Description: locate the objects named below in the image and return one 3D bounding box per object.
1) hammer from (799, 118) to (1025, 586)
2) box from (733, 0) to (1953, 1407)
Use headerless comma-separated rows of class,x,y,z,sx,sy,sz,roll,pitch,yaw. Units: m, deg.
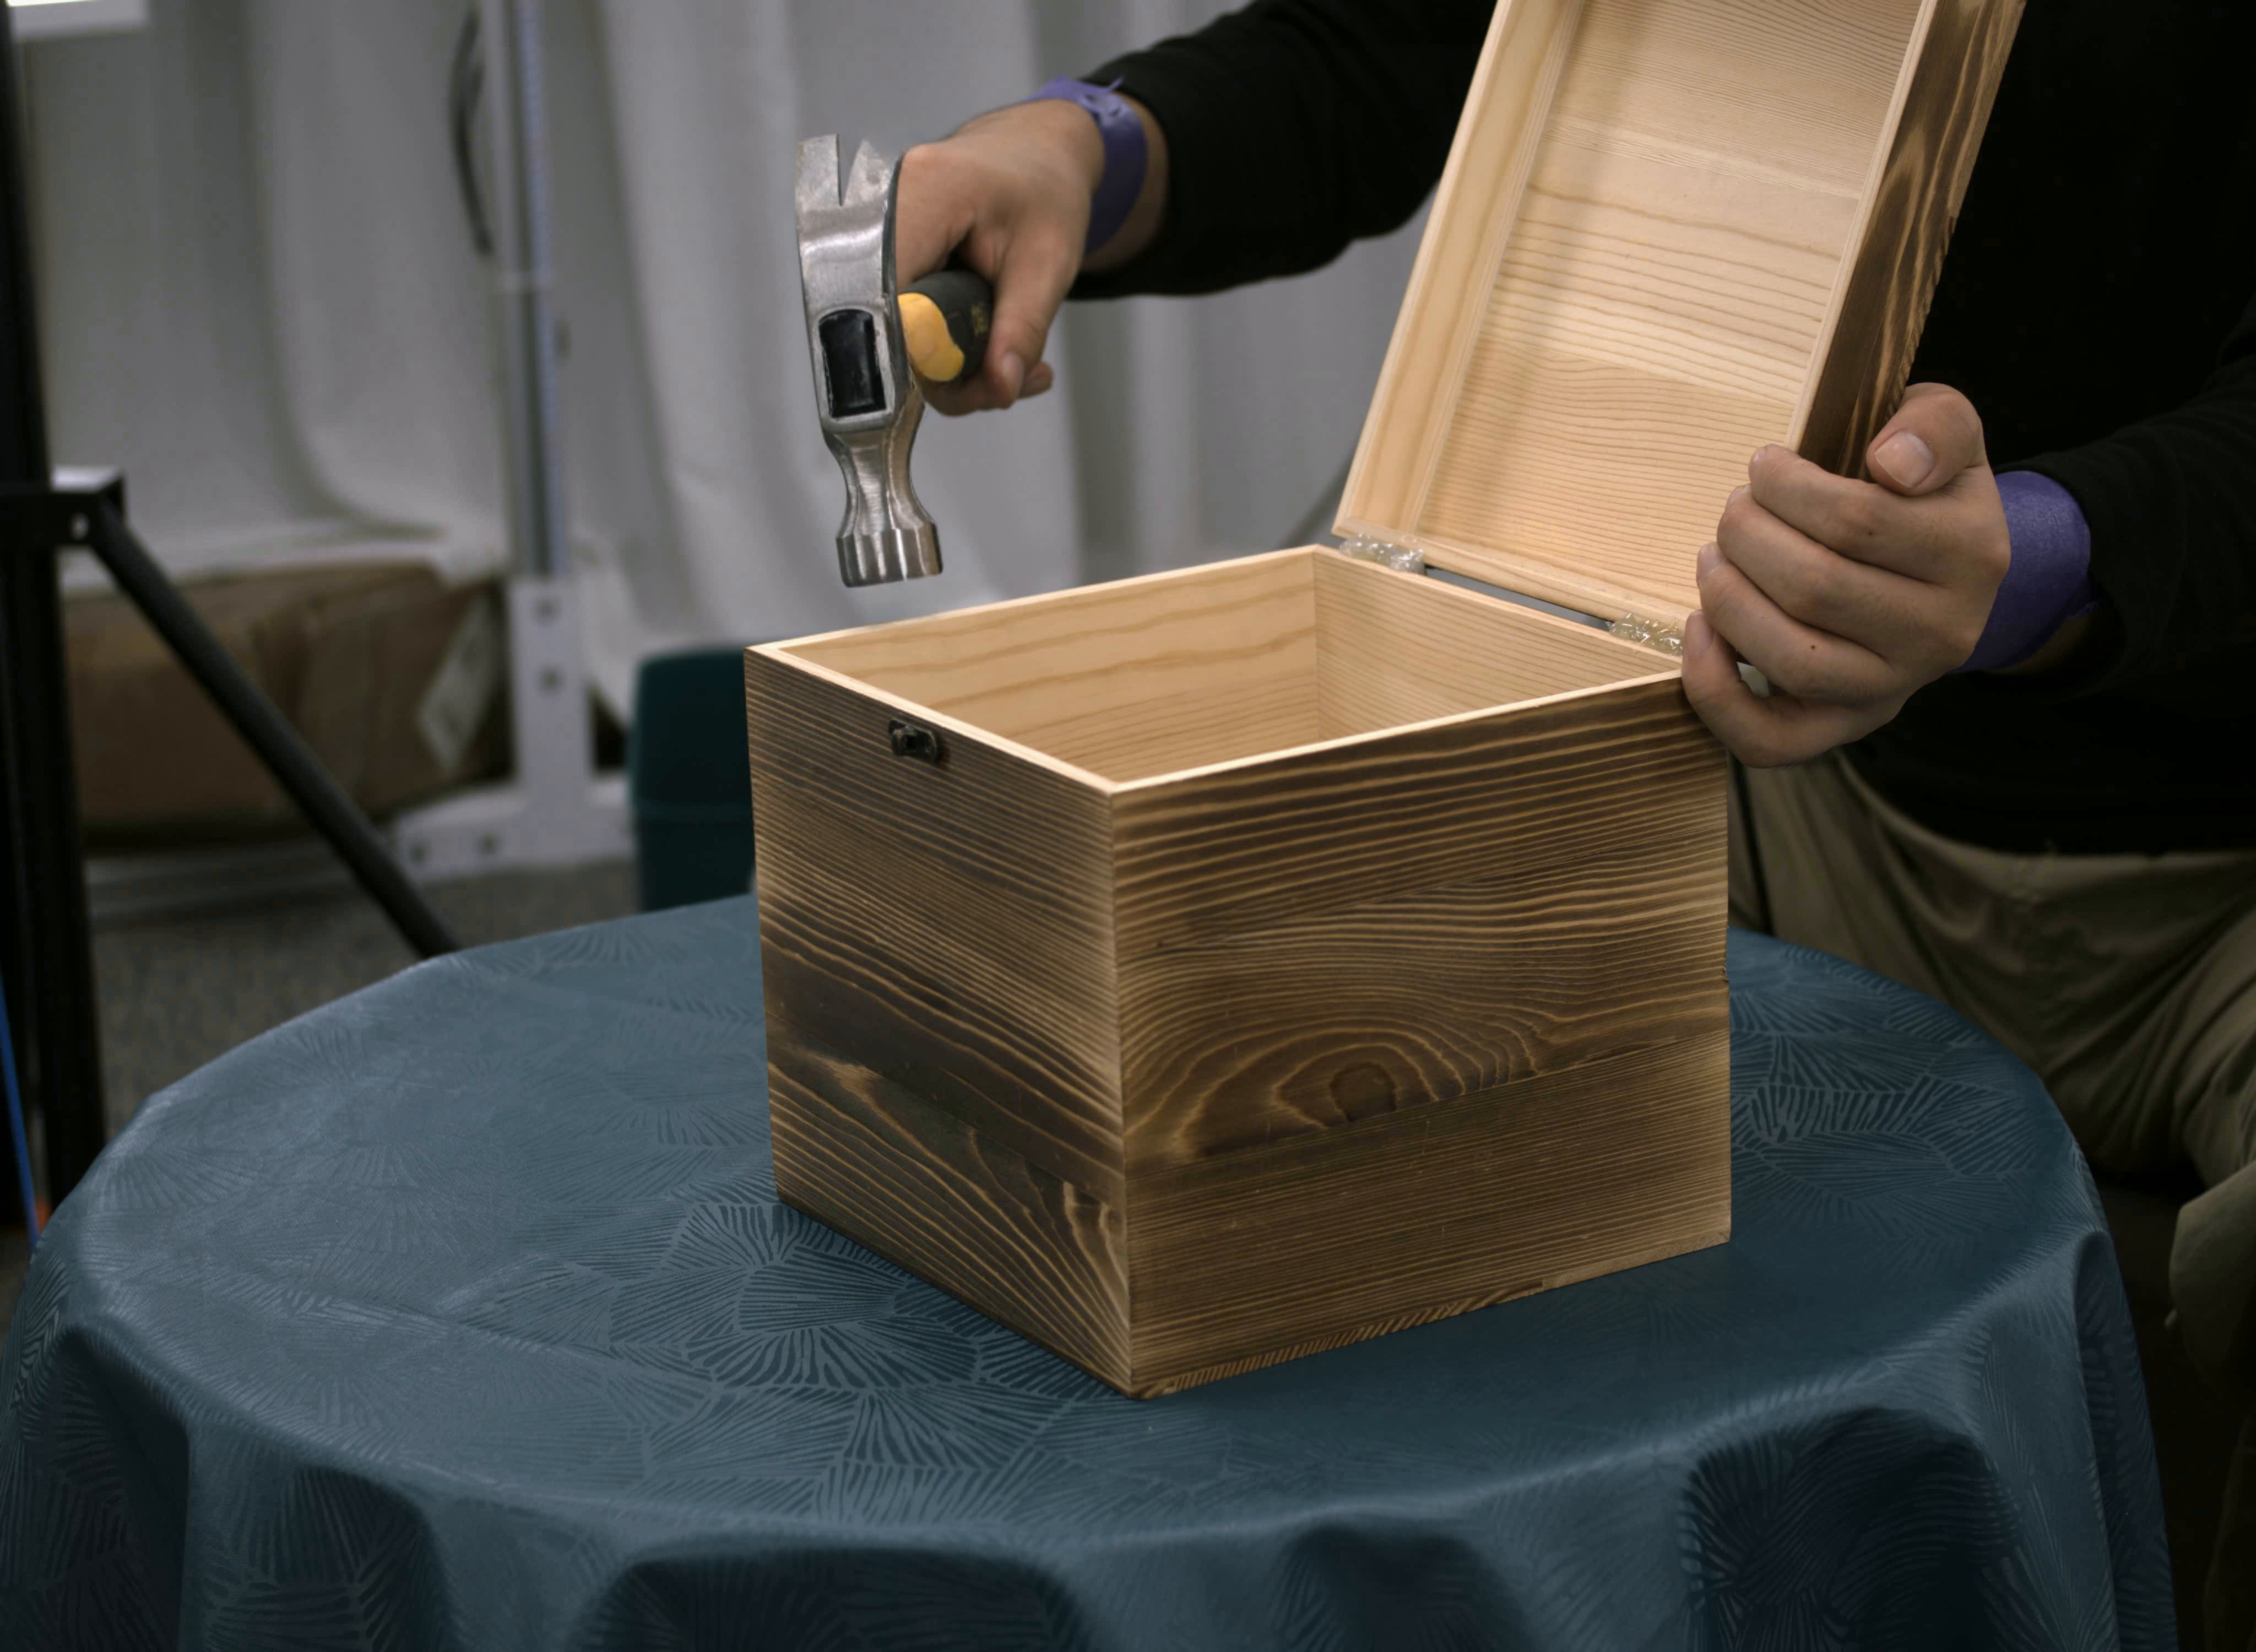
hammer,-0.062,-0.156,1.689,0.032,0.132,0.337,-7,7,6
box,0.067,-0.072,1.504,0.315,0.375,0.213,-12,18,-29
